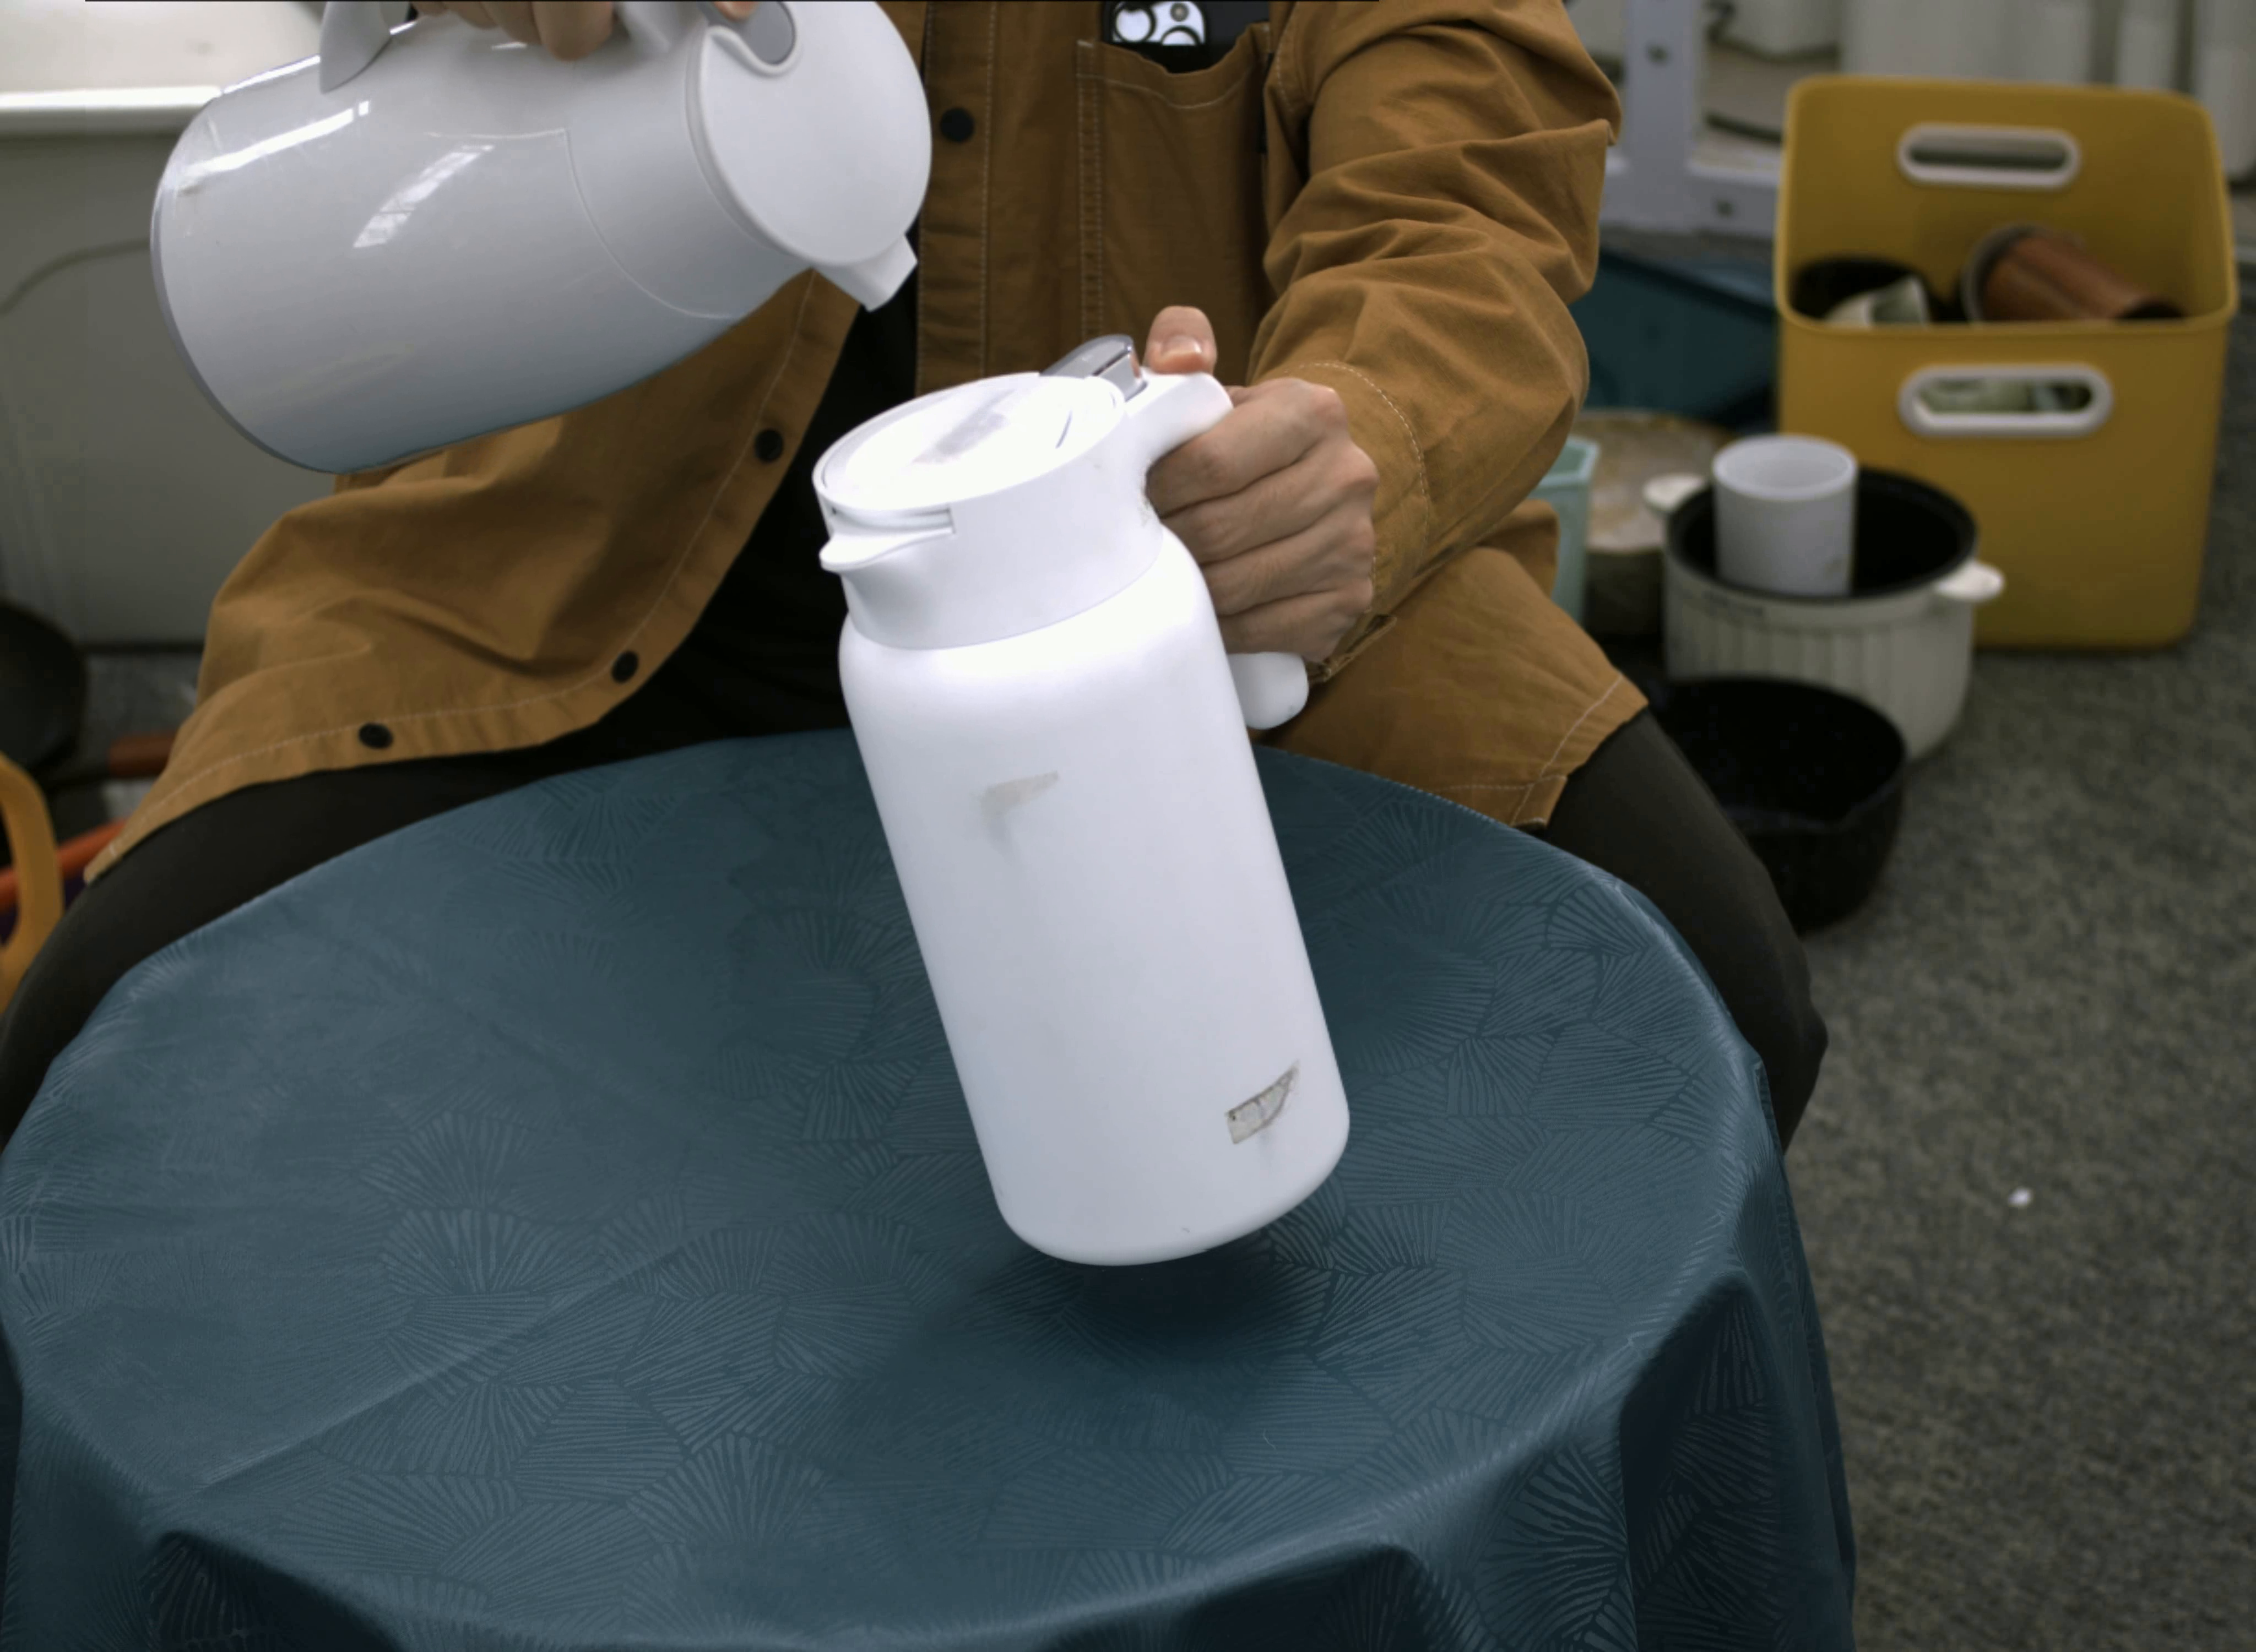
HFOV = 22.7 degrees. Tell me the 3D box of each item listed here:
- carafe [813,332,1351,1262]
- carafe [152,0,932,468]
[{"bbox_3d":[-0.006,-0.012,1.761,0.123,0.267,0.175,3,28,41],"label":"carafe"},{"bbox_3d":[-0.184,-0.210,1.724,0.245,0.166,0.135,-12,35,43],"label":"carafe"}]
